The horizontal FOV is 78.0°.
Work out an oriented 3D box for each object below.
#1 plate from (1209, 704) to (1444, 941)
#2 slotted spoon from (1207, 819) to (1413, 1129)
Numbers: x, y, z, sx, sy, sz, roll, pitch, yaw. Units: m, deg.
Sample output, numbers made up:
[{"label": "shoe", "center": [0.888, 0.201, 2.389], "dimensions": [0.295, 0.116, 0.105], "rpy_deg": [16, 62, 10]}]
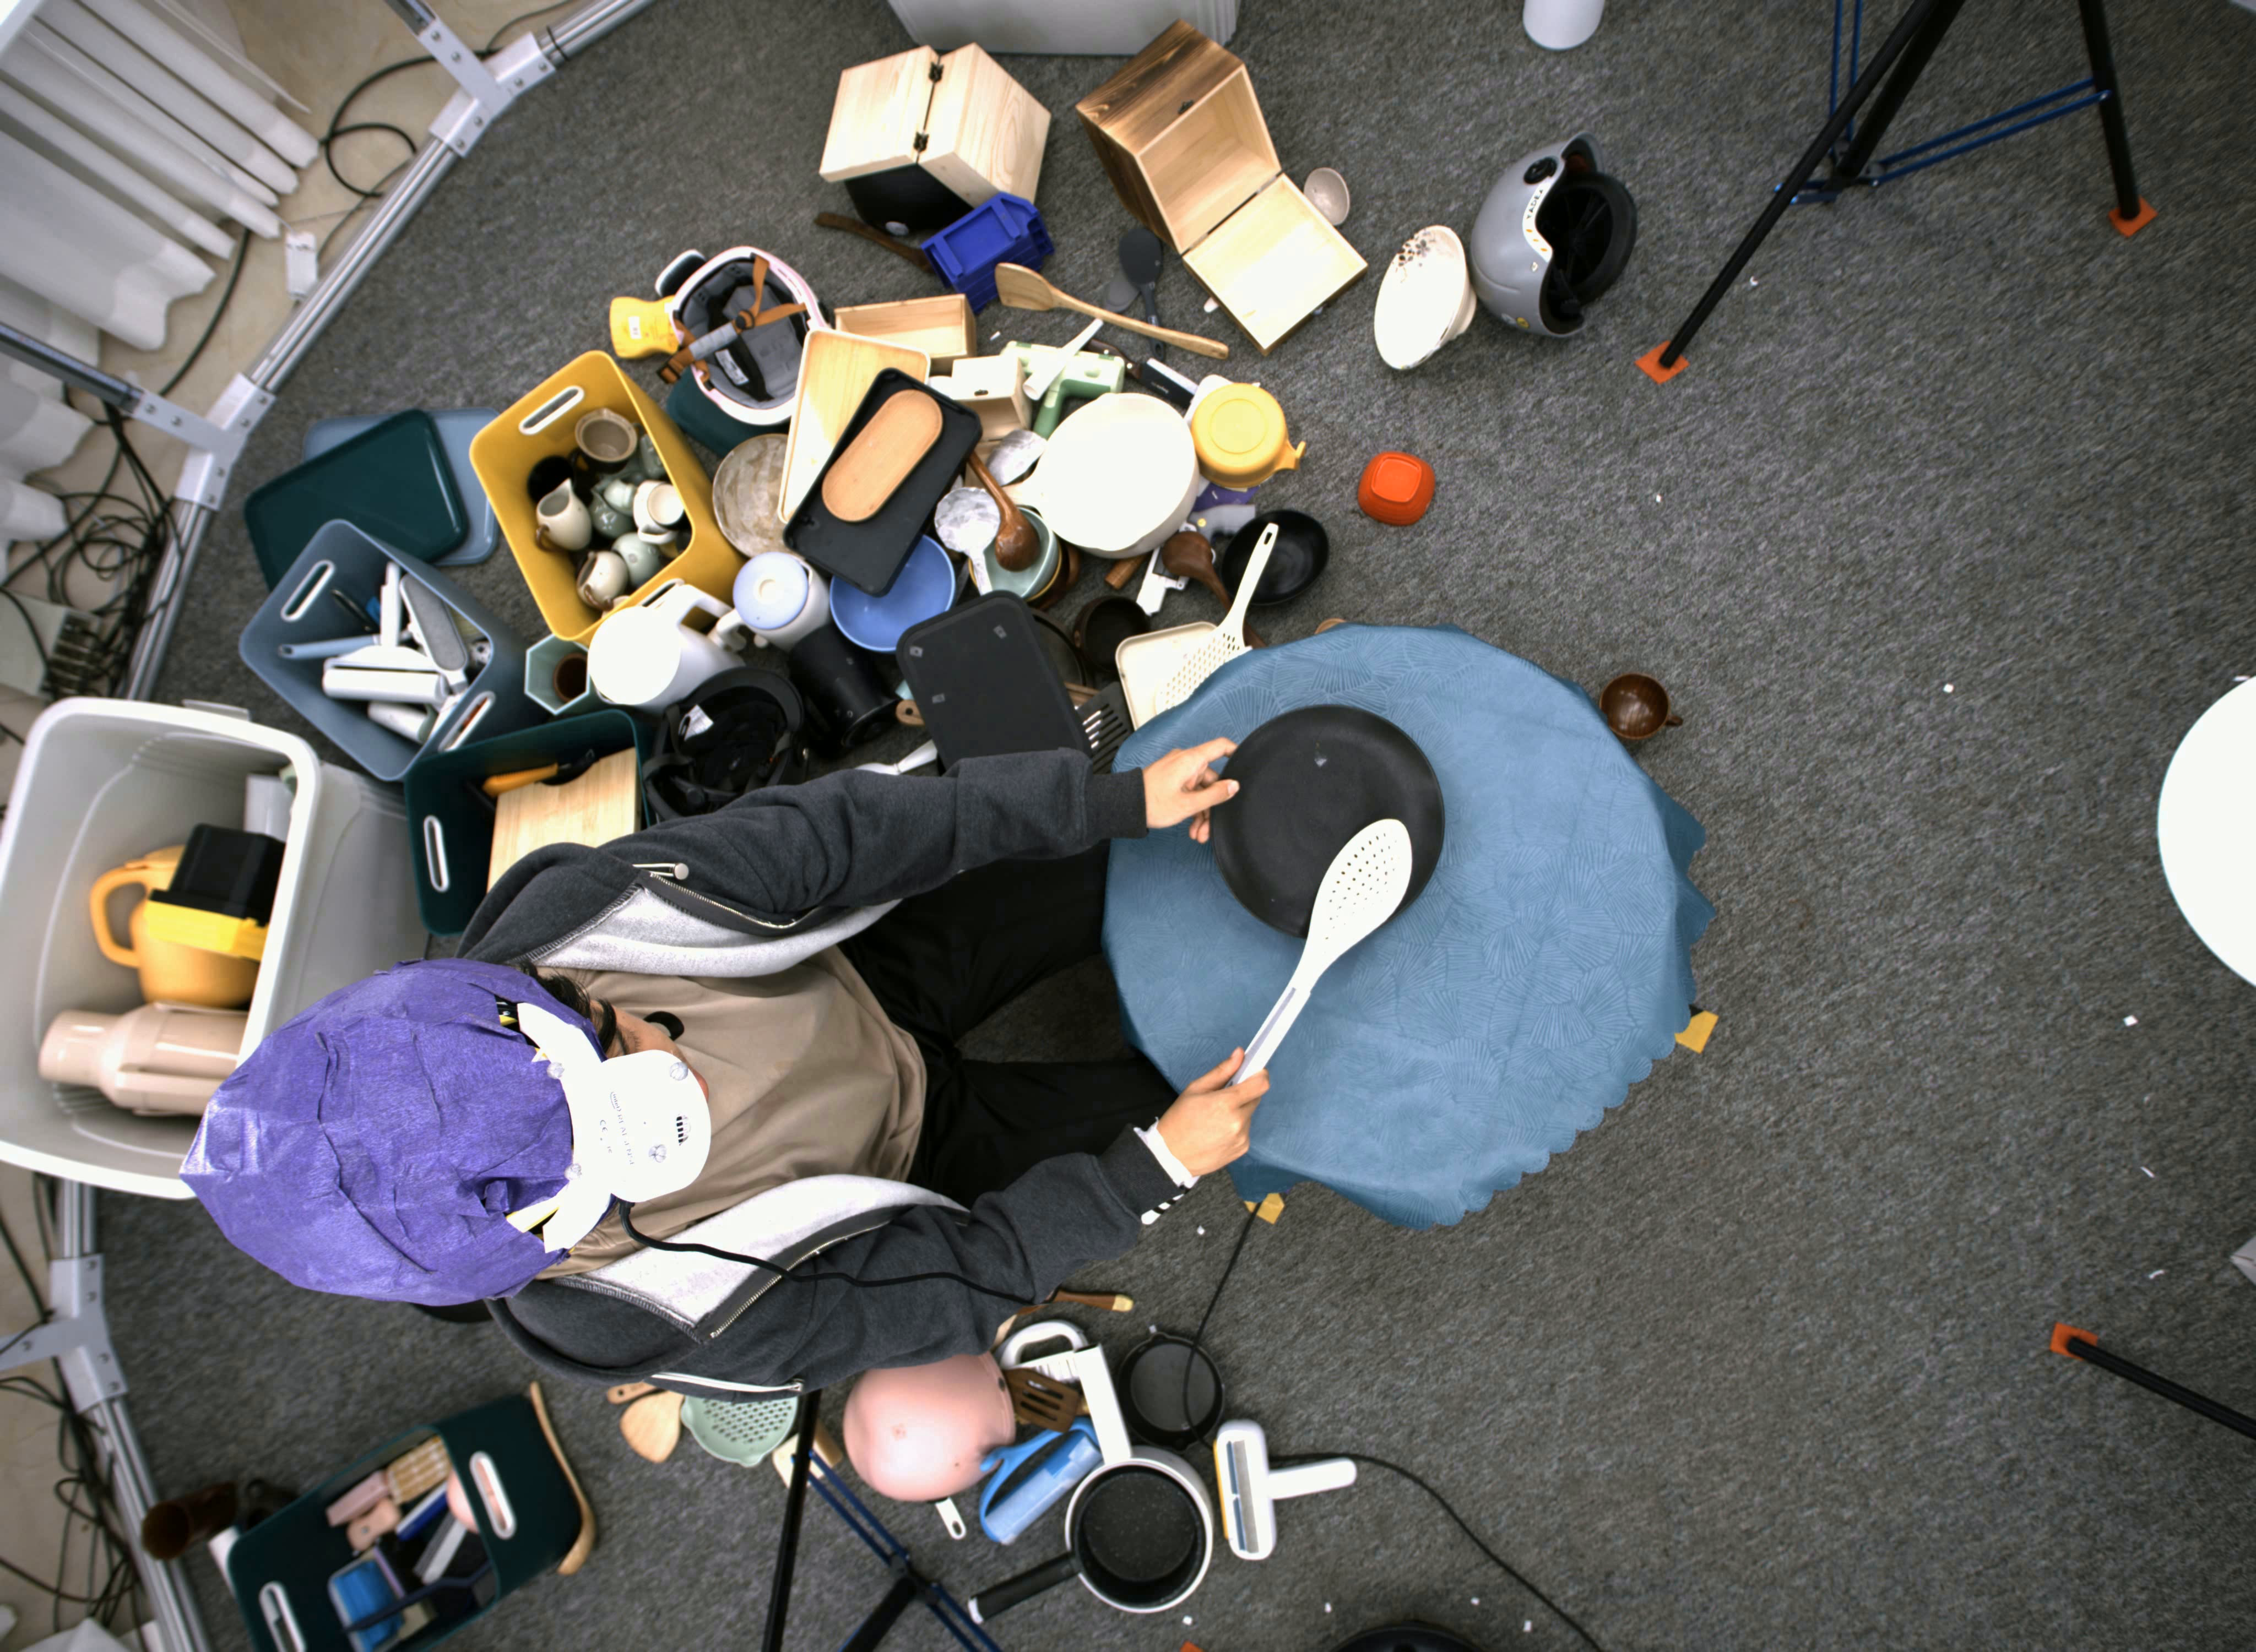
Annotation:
[{"label": "plate", "center": [0.203, -0.004, 1.414], "dimensions": [0.244, 0.023, 0.245], "rpy_deg": [0, 97, -3]}, {"label": "slotted spoon", "center": [0.178, 0.147, 1.364], "dimensions": [0.046, 0.135, 0.350], "rpy_deg": [36, 91, -18]}]
